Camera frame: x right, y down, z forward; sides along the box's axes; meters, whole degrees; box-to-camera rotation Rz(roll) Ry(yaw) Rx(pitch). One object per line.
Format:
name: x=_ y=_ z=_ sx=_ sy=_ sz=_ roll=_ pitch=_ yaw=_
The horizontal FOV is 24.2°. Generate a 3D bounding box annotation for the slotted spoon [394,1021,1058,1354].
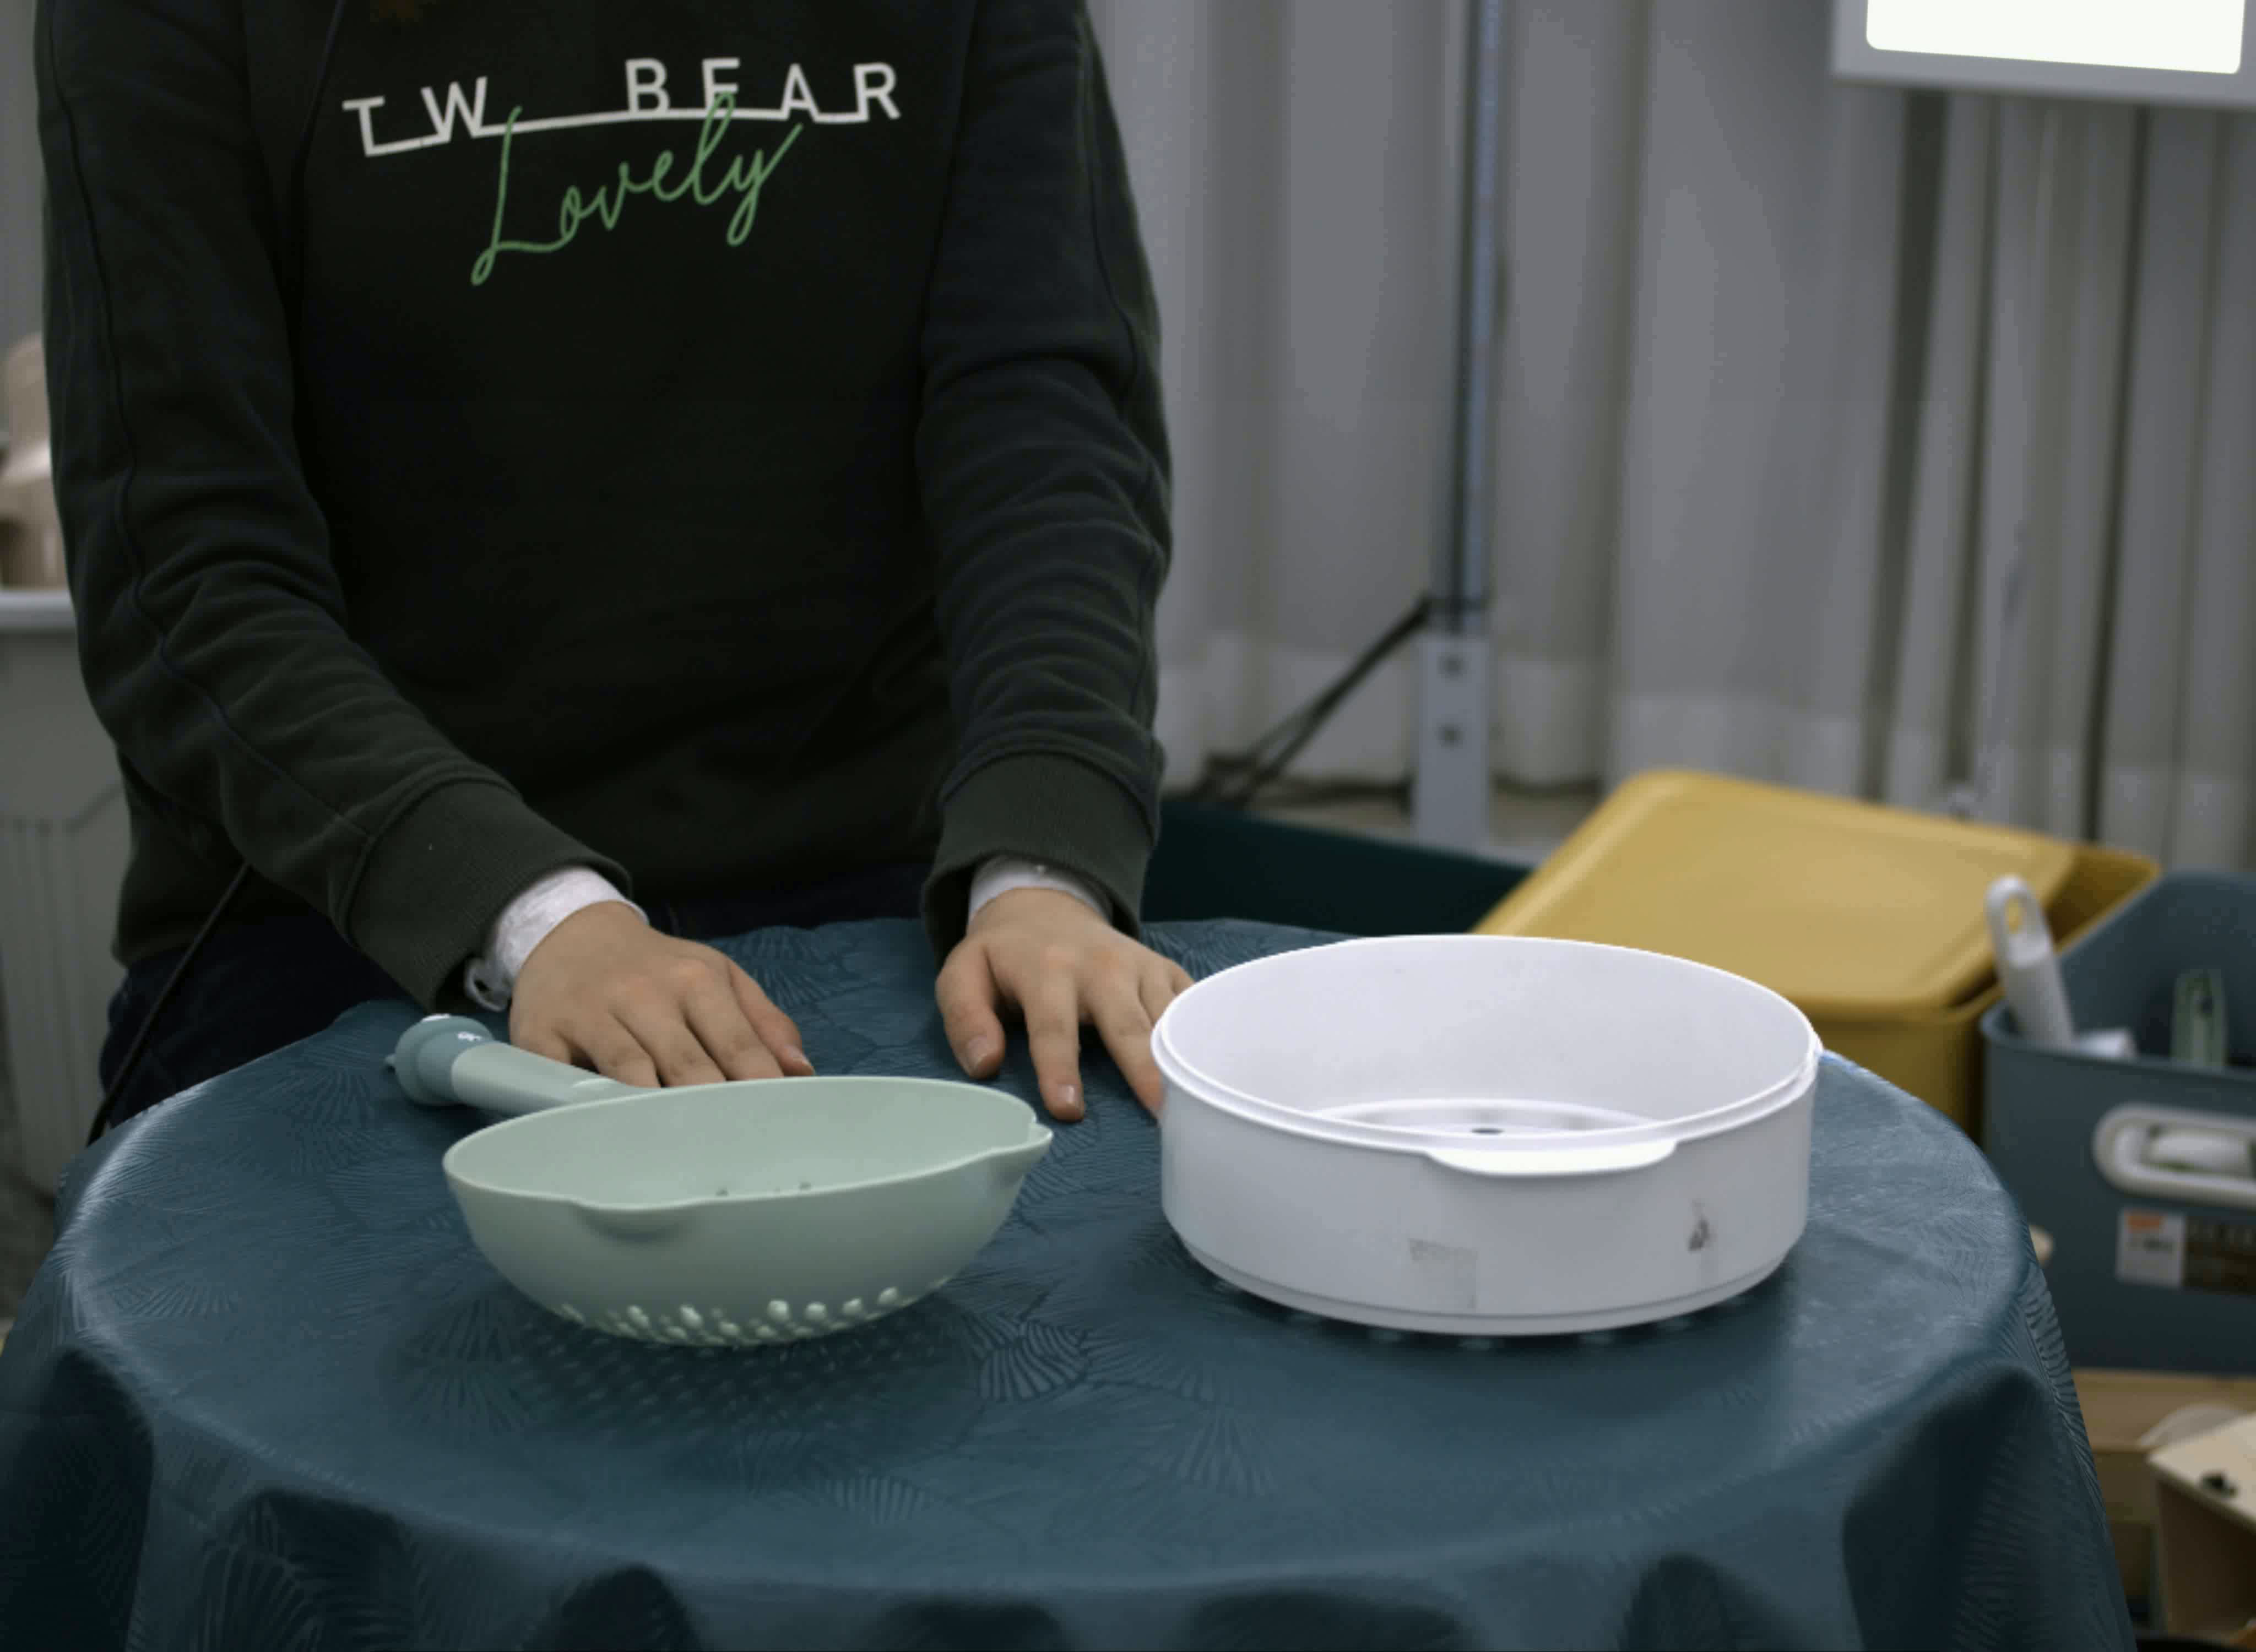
slotted spoon: x=-0.154 y=0.092 z=1.579 sx=0.170 sy=0.076 sz=0.354 roll=-7 pitch=17 yaw=-28

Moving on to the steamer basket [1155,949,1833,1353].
steamer basket: x=0.108 y=0.096 z=1.572 sx=0.202 sy=0.070 sz=0.228 roll=-1 pitch=16 yaw=-9
